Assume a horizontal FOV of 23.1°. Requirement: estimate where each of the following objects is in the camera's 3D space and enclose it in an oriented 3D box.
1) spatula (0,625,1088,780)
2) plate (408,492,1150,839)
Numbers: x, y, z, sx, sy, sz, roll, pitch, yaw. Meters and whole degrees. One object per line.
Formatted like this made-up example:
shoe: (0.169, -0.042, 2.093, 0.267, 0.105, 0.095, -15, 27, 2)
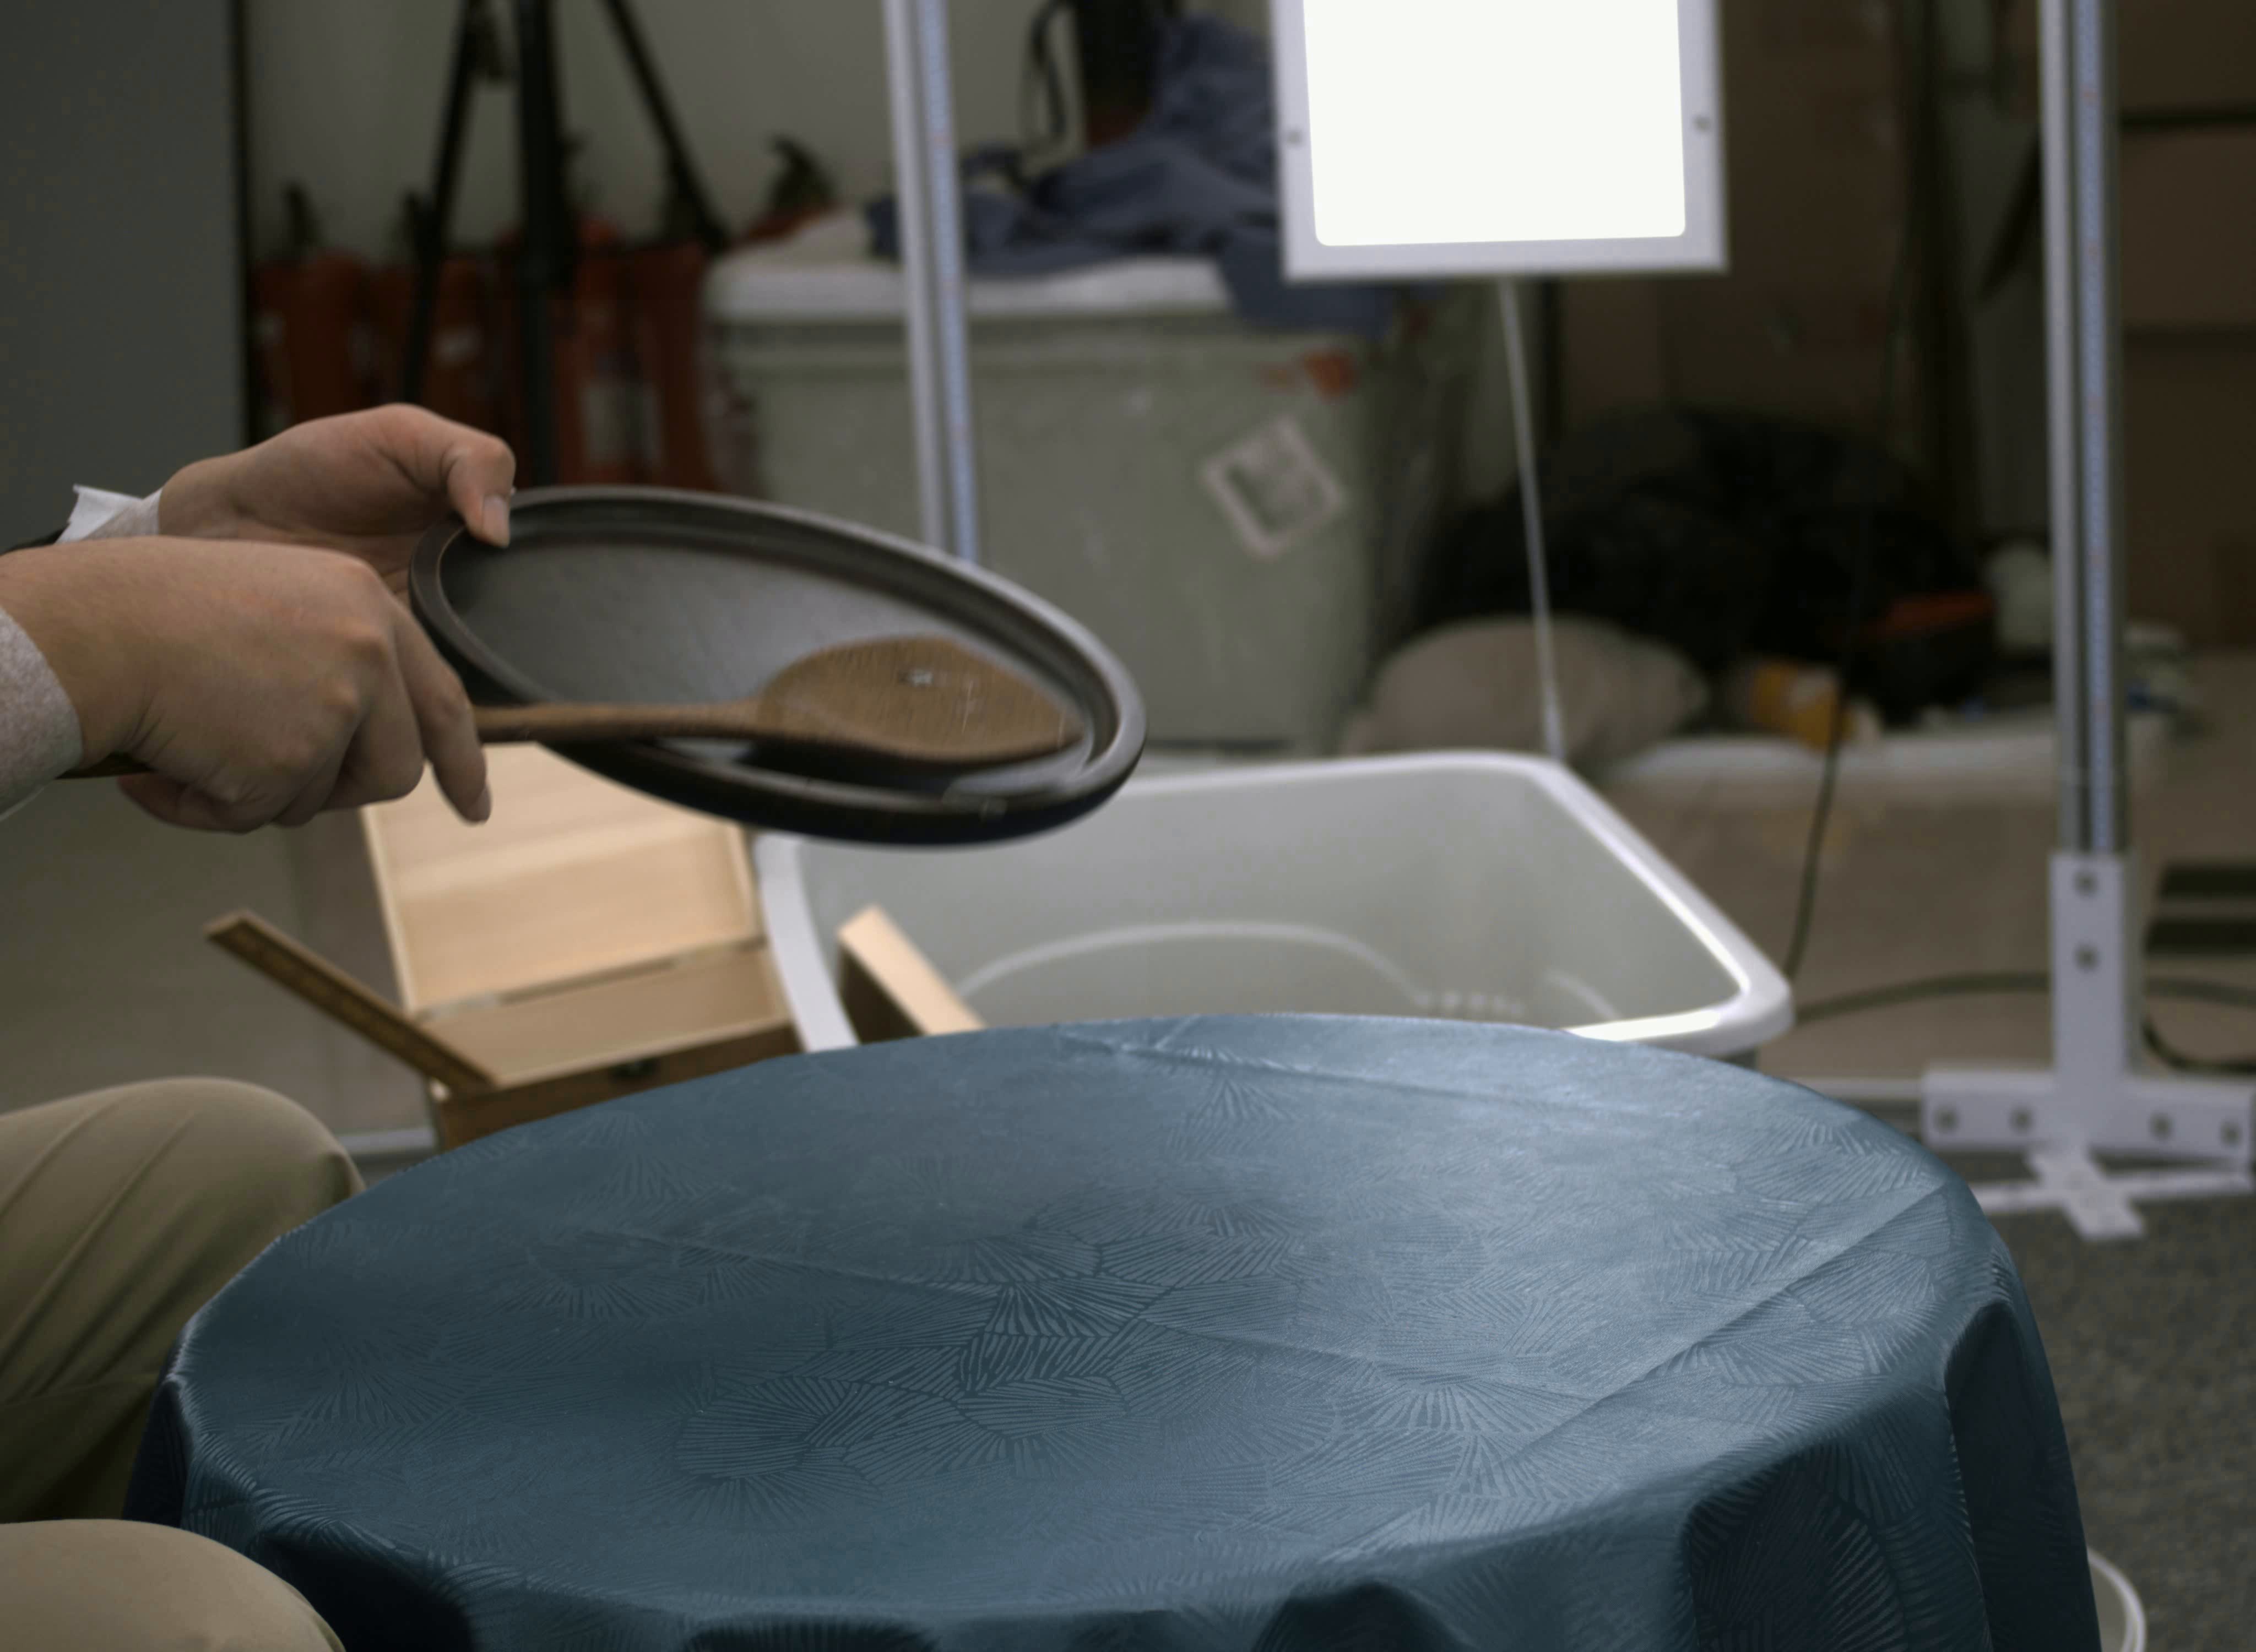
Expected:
spatula: (-0.178, -0.034, 1.709, 0.376, 0.016, 0.098, -4, 26, -38)
plate: (-0.117, -0.056, 1.836, 0.253, 0.029, 0.254, 13, 22, -7)
